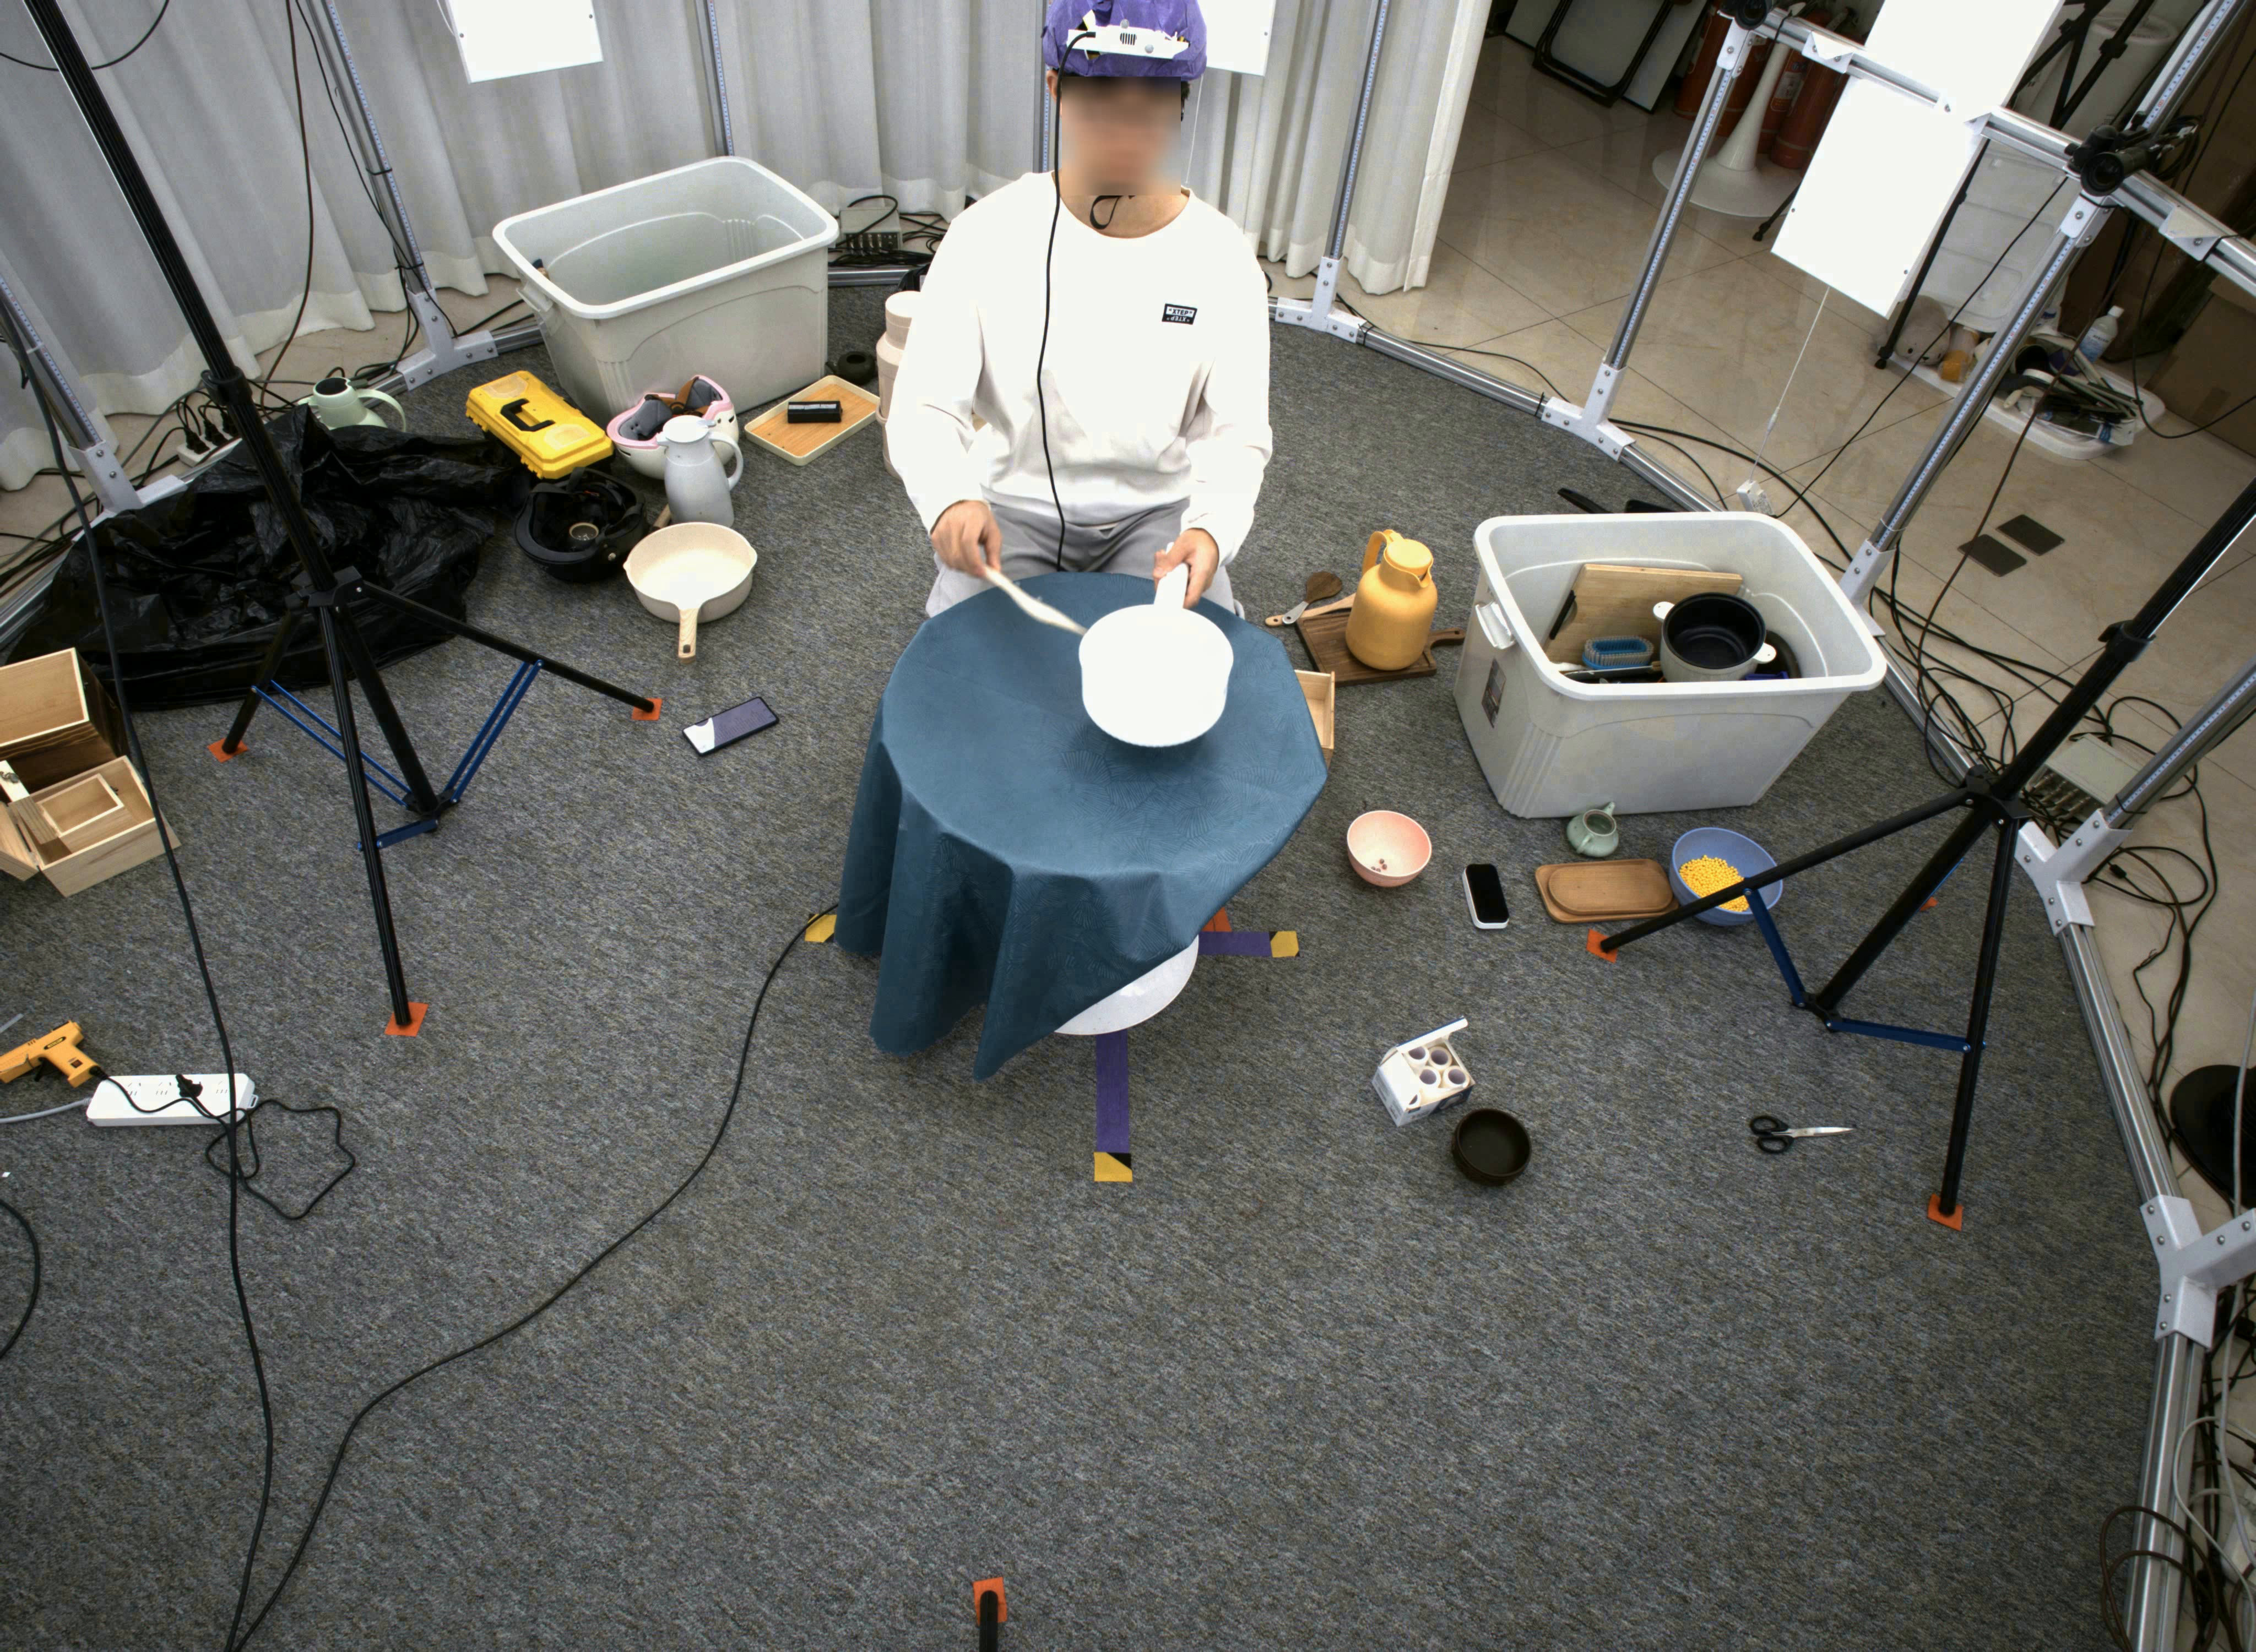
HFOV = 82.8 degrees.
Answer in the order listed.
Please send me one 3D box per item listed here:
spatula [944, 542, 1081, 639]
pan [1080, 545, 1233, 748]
[{"bbox_3d":[-0.165,-0.314,1.689,0.071,0.010,0.299,10,24,-44],"label":"spatula"},{"bbox_3d":[0.049,-0.248,1.769,0.201,0.099,0.363,6,45,6],"label":"pan"}]
